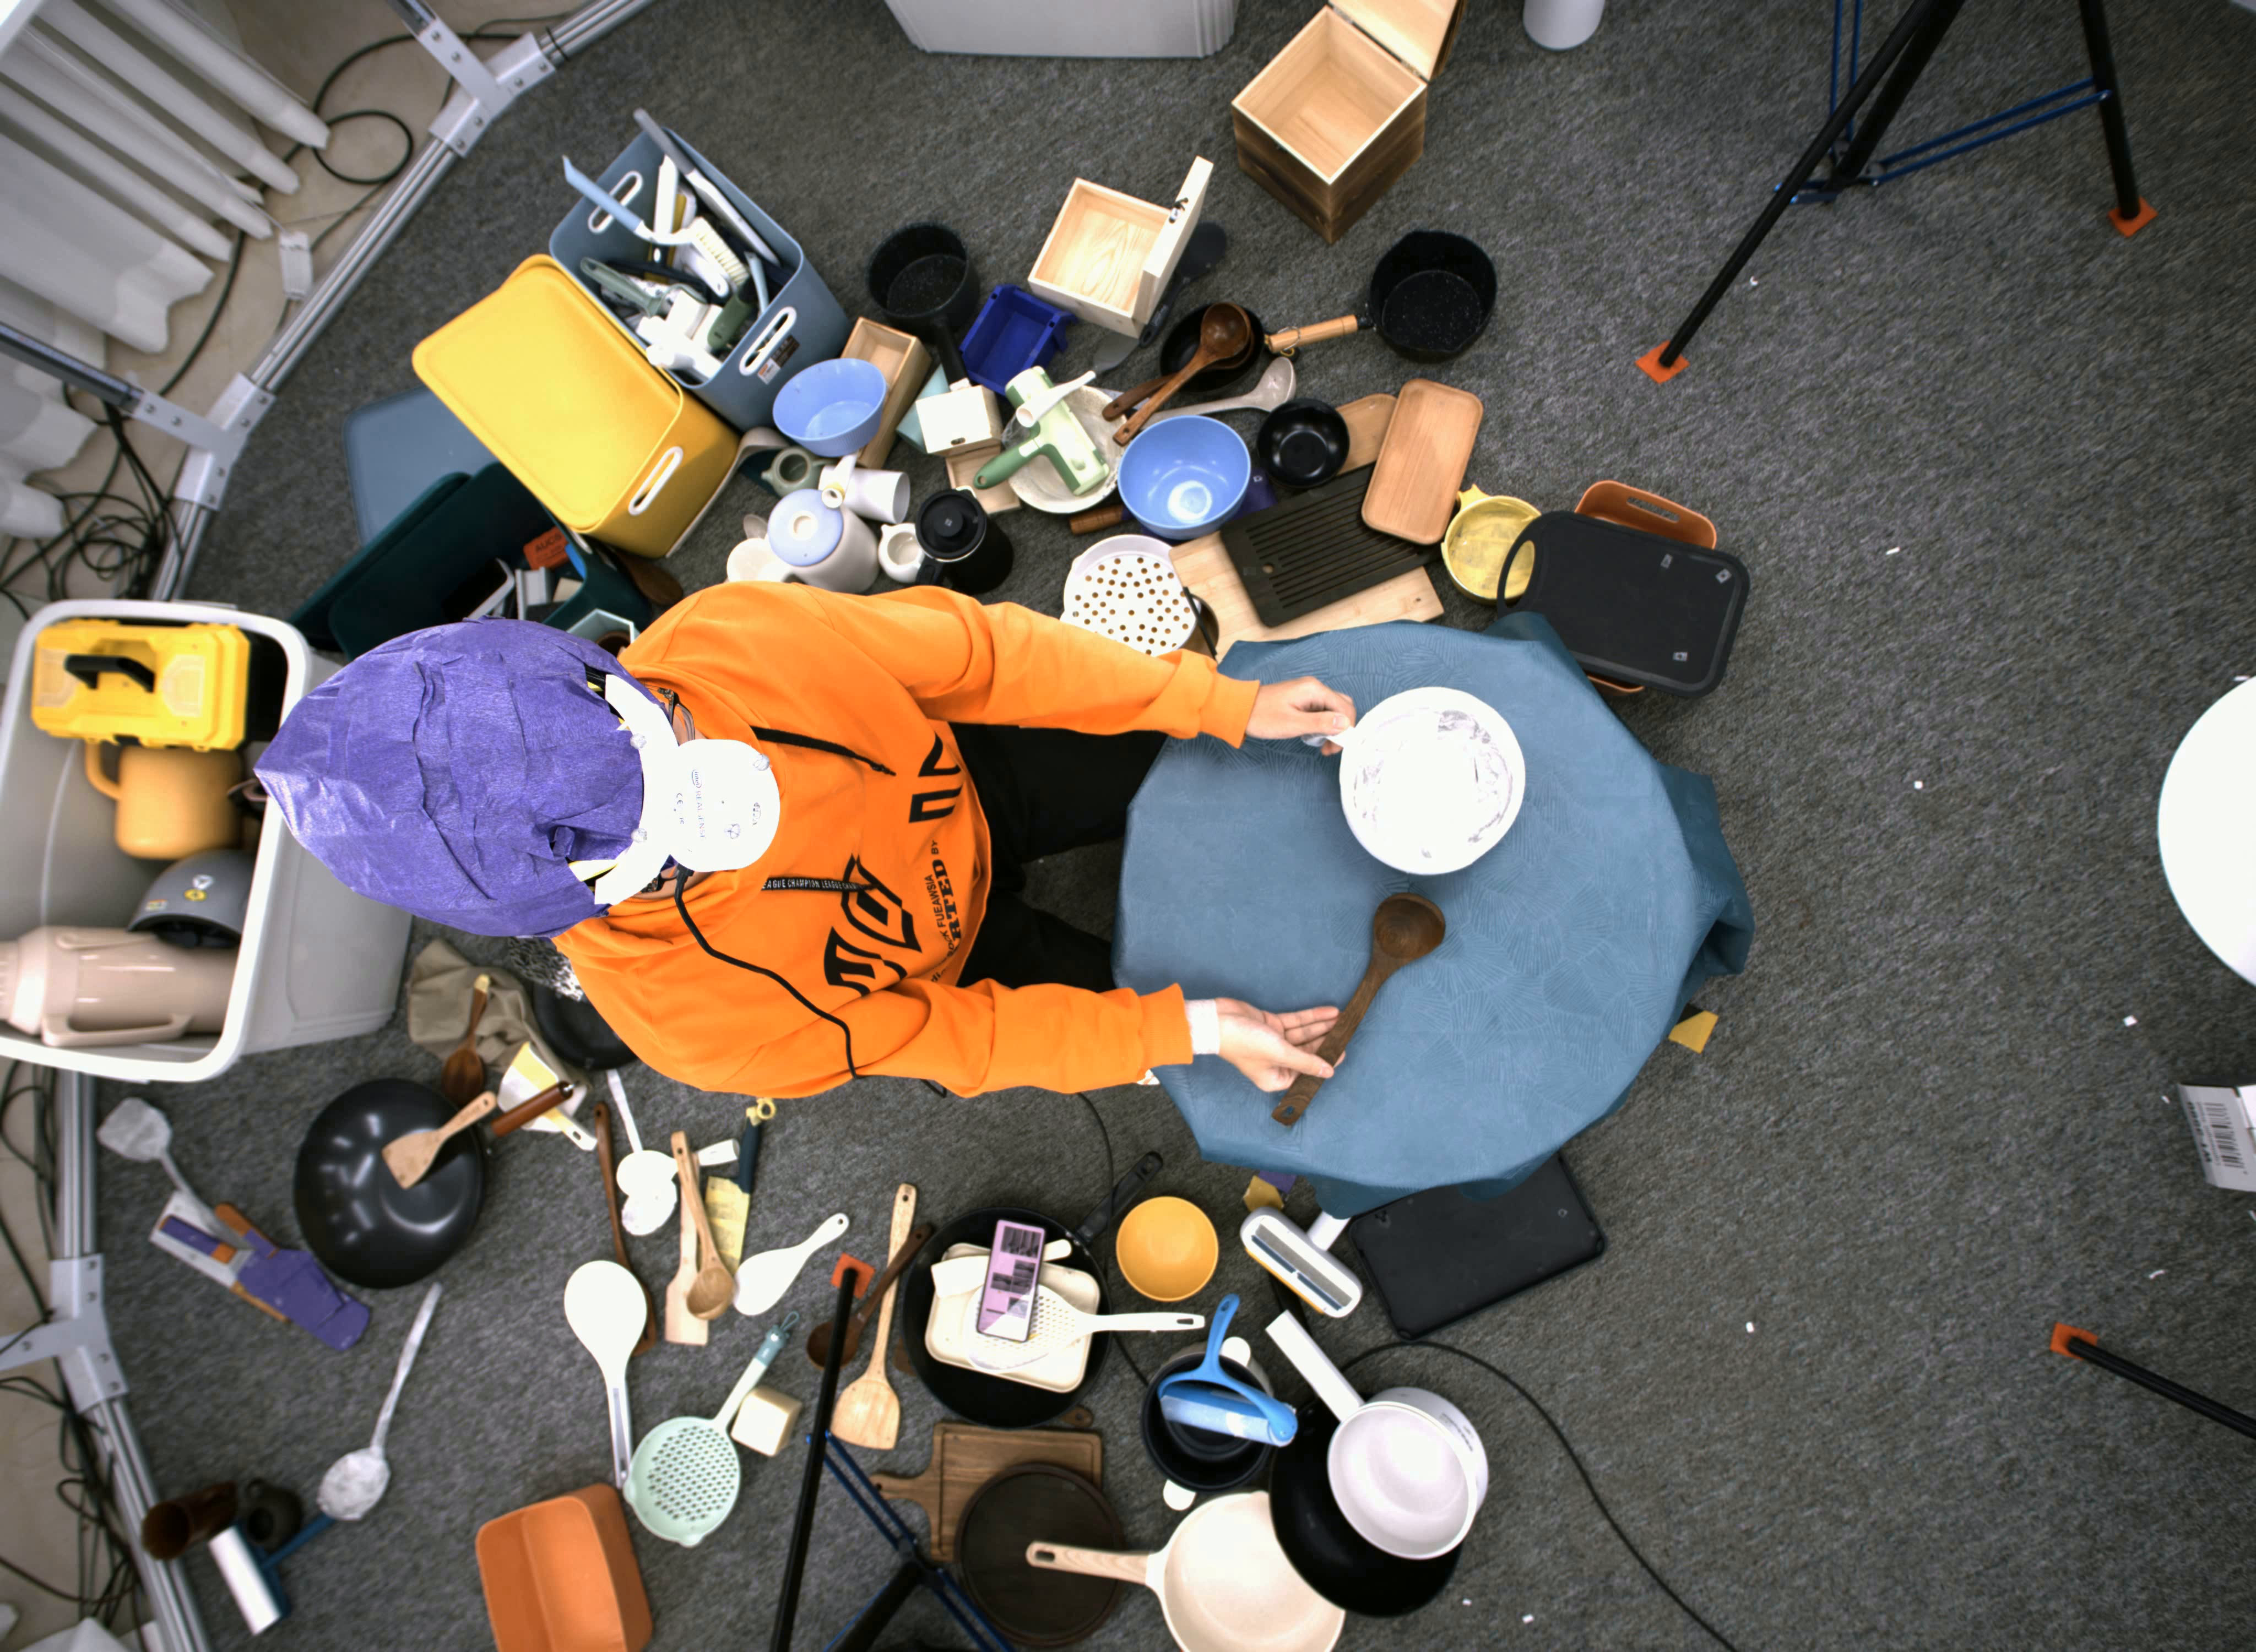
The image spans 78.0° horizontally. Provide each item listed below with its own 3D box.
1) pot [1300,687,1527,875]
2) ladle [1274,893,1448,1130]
[{"bbox_3d":[0.280,-0.055,1.395,0.233,0.137,0.179,28,90,10],"label":"pot"},{"bbox_3d":[0.233,0.190,1.416,0.076,0.072,0.273,33,85,9],"label":"ladle"}]
